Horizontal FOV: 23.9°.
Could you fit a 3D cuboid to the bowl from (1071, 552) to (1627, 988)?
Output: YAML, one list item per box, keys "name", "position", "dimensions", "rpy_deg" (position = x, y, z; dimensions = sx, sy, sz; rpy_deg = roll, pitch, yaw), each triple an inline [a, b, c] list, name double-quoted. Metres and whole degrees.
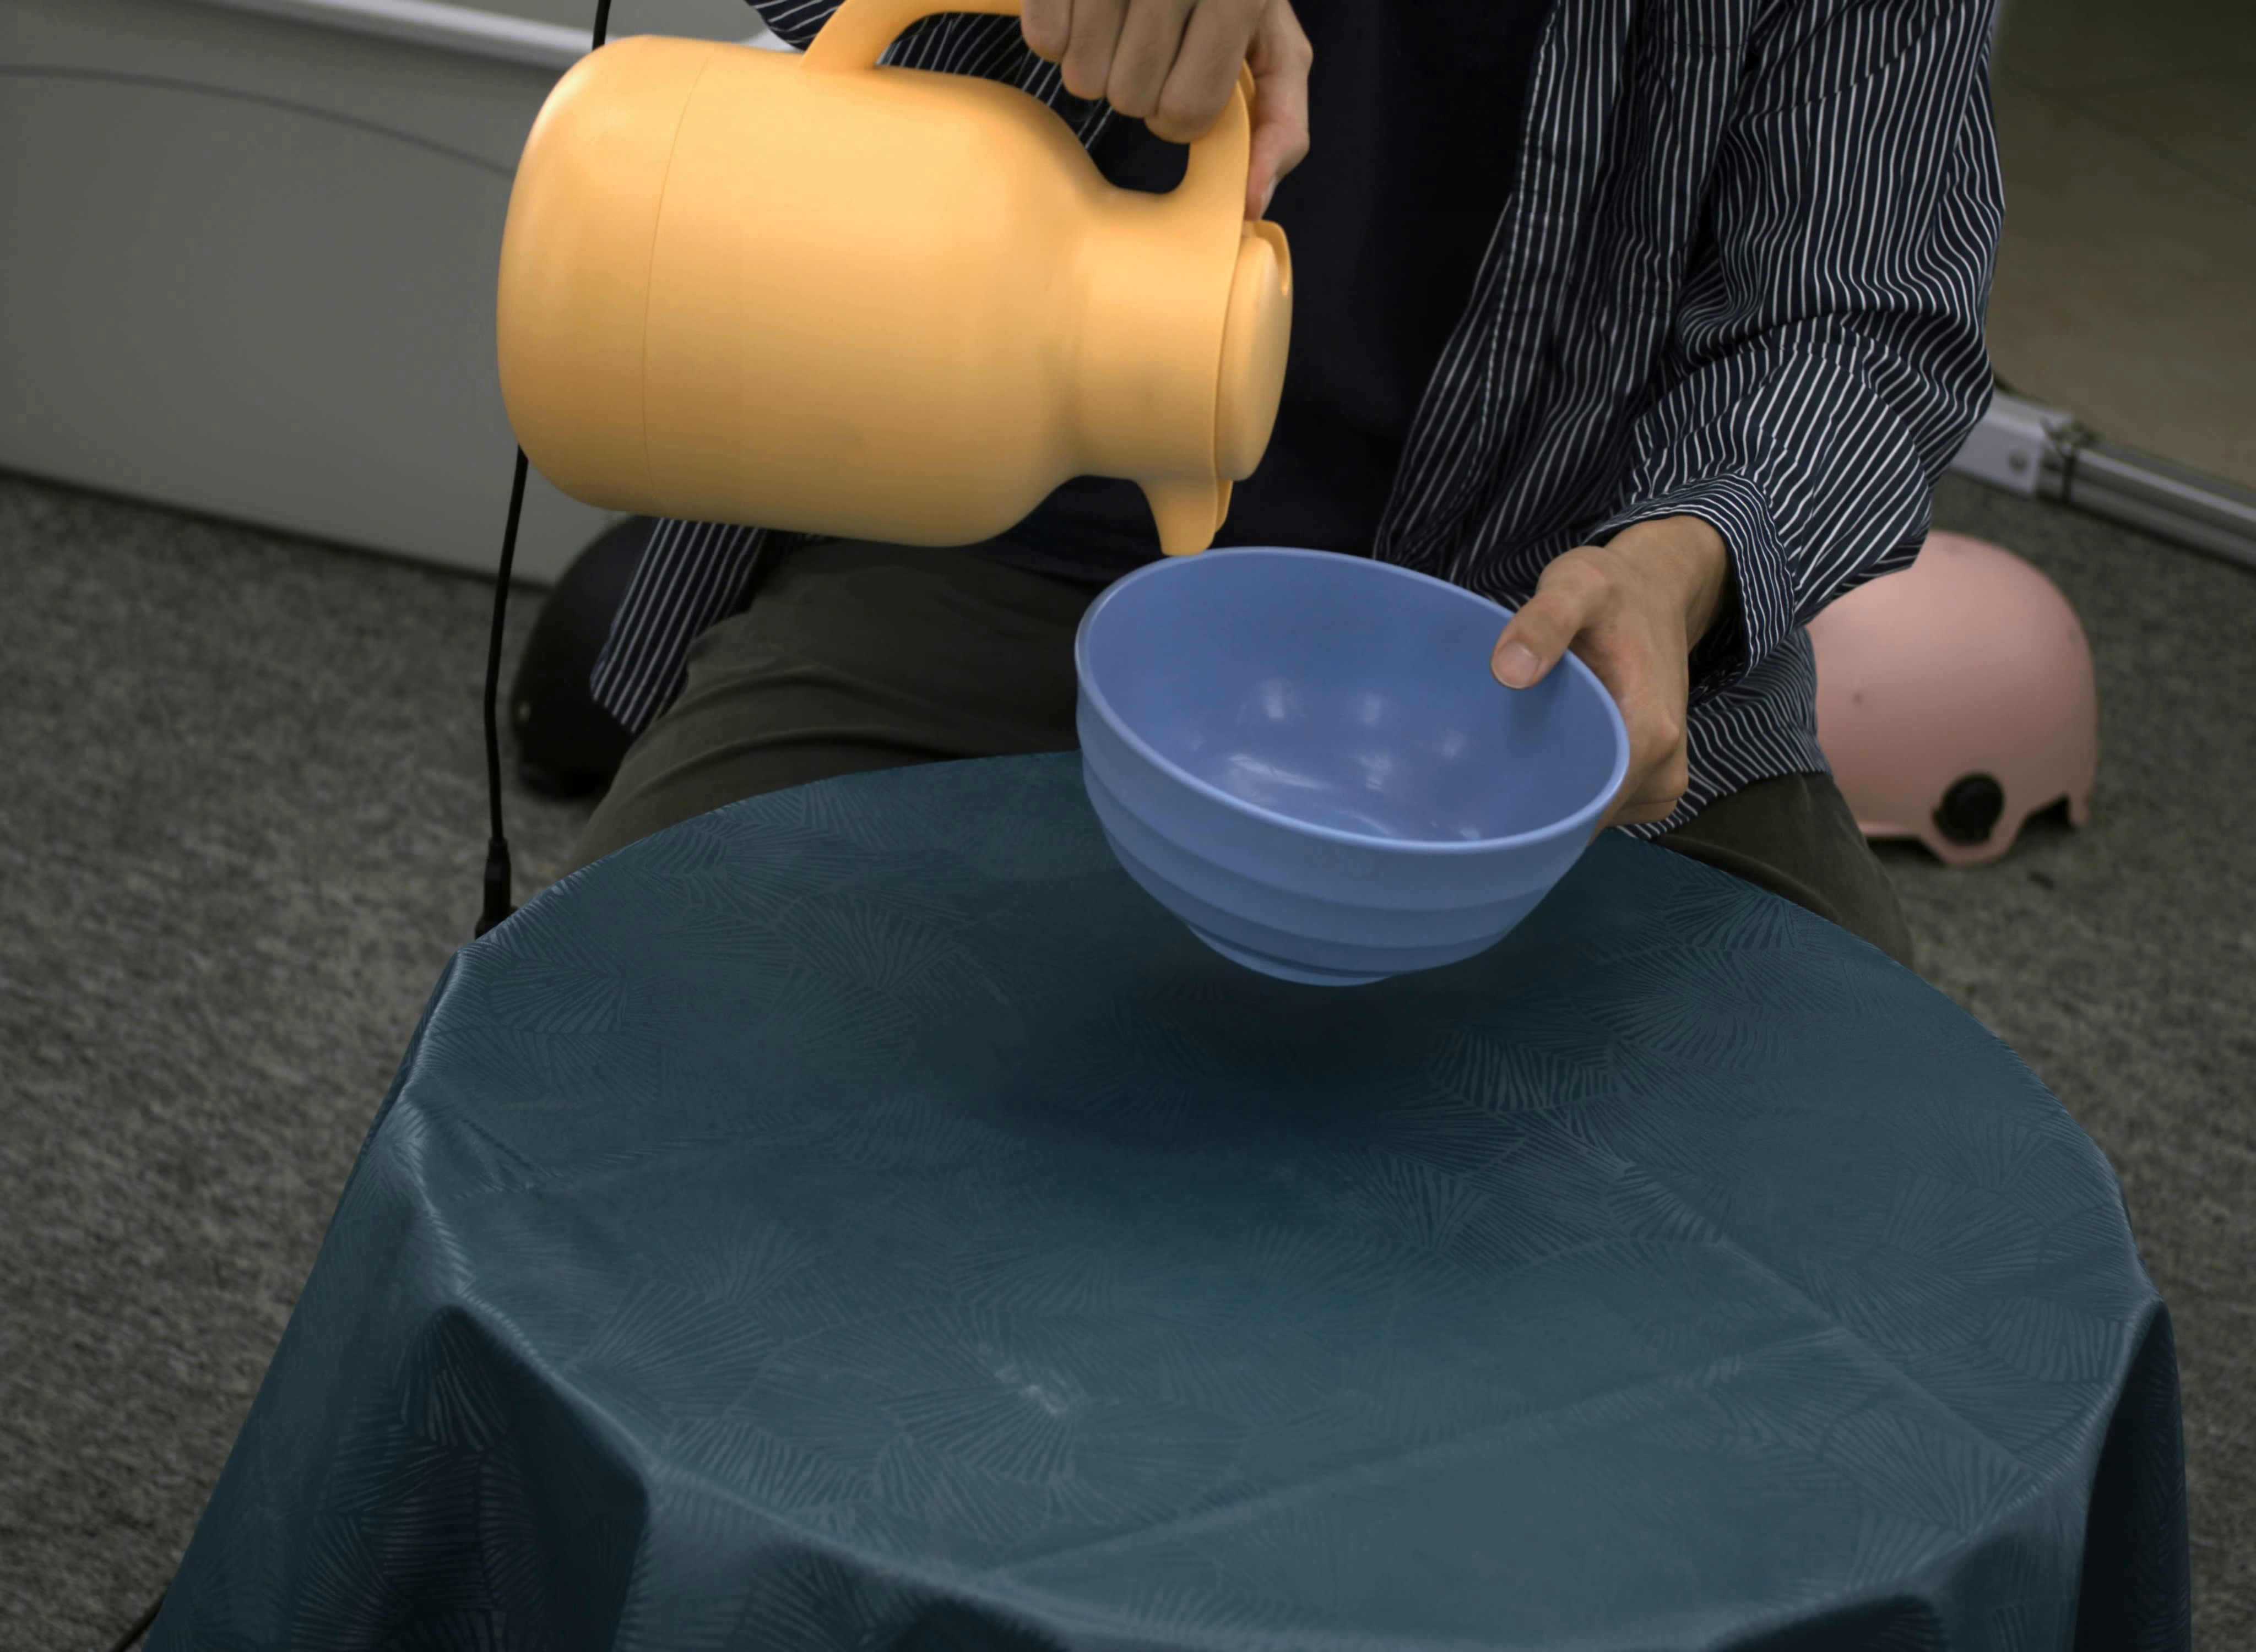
- name: "bowl"
  position: [0.068, -0.008, 1.864]
  dimensions: [0.195, 0.095, 0.198]
  rpy_deg: [9, 31, -6]

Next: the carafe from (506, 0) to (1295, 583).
- name: "carafe"
  position: [-0.072, -0.187, 1.822]
  dimensions: [0.260, 0.202, 0.164]
  rpy_deg: [8, 18, 9]
